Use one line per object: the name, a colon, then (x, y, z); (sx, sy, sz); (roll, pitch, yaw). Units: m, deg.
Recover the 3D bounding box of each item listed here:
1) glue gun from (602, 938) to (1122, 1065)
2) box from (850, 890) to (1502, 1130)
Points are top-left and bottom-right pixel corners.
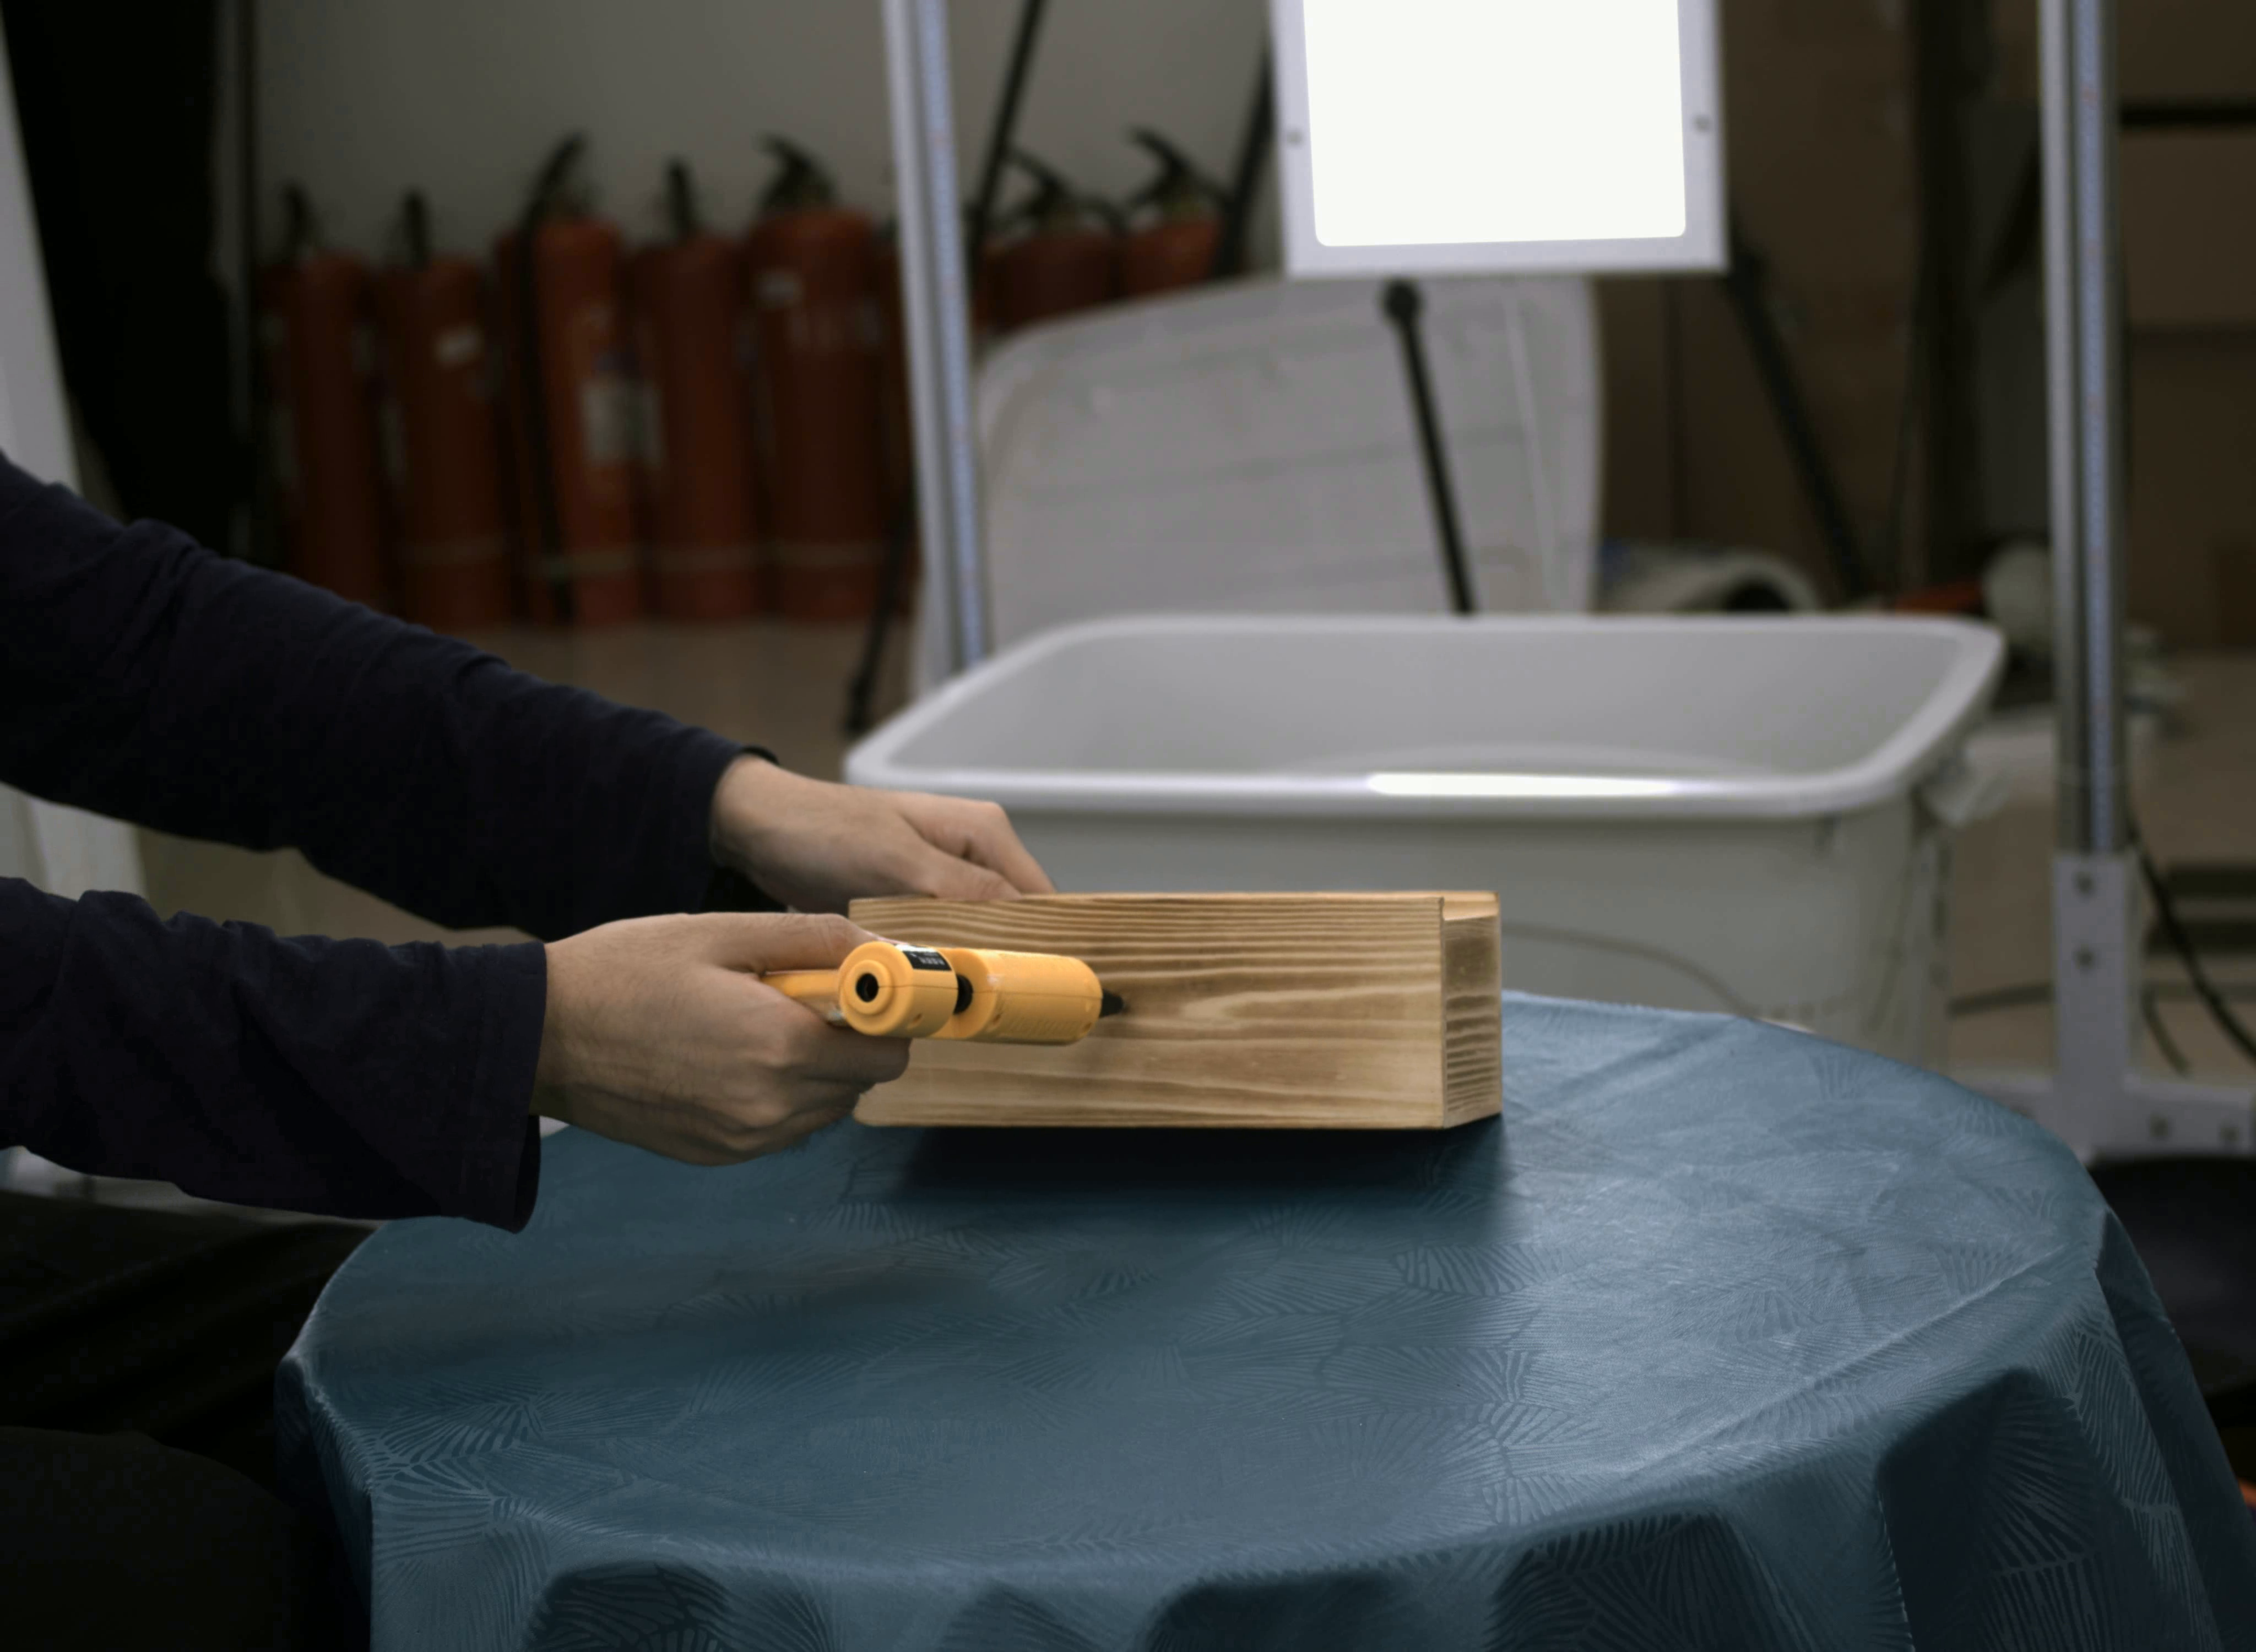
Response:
glue gun: (-0.079, 0.064, 1.851); (0.136, 0.031, 0.147); (-12, -12, 39)
box: (0.018, 0.063, 1.933); (0.214, 0.080, 0.106); (0, 0, 18)
